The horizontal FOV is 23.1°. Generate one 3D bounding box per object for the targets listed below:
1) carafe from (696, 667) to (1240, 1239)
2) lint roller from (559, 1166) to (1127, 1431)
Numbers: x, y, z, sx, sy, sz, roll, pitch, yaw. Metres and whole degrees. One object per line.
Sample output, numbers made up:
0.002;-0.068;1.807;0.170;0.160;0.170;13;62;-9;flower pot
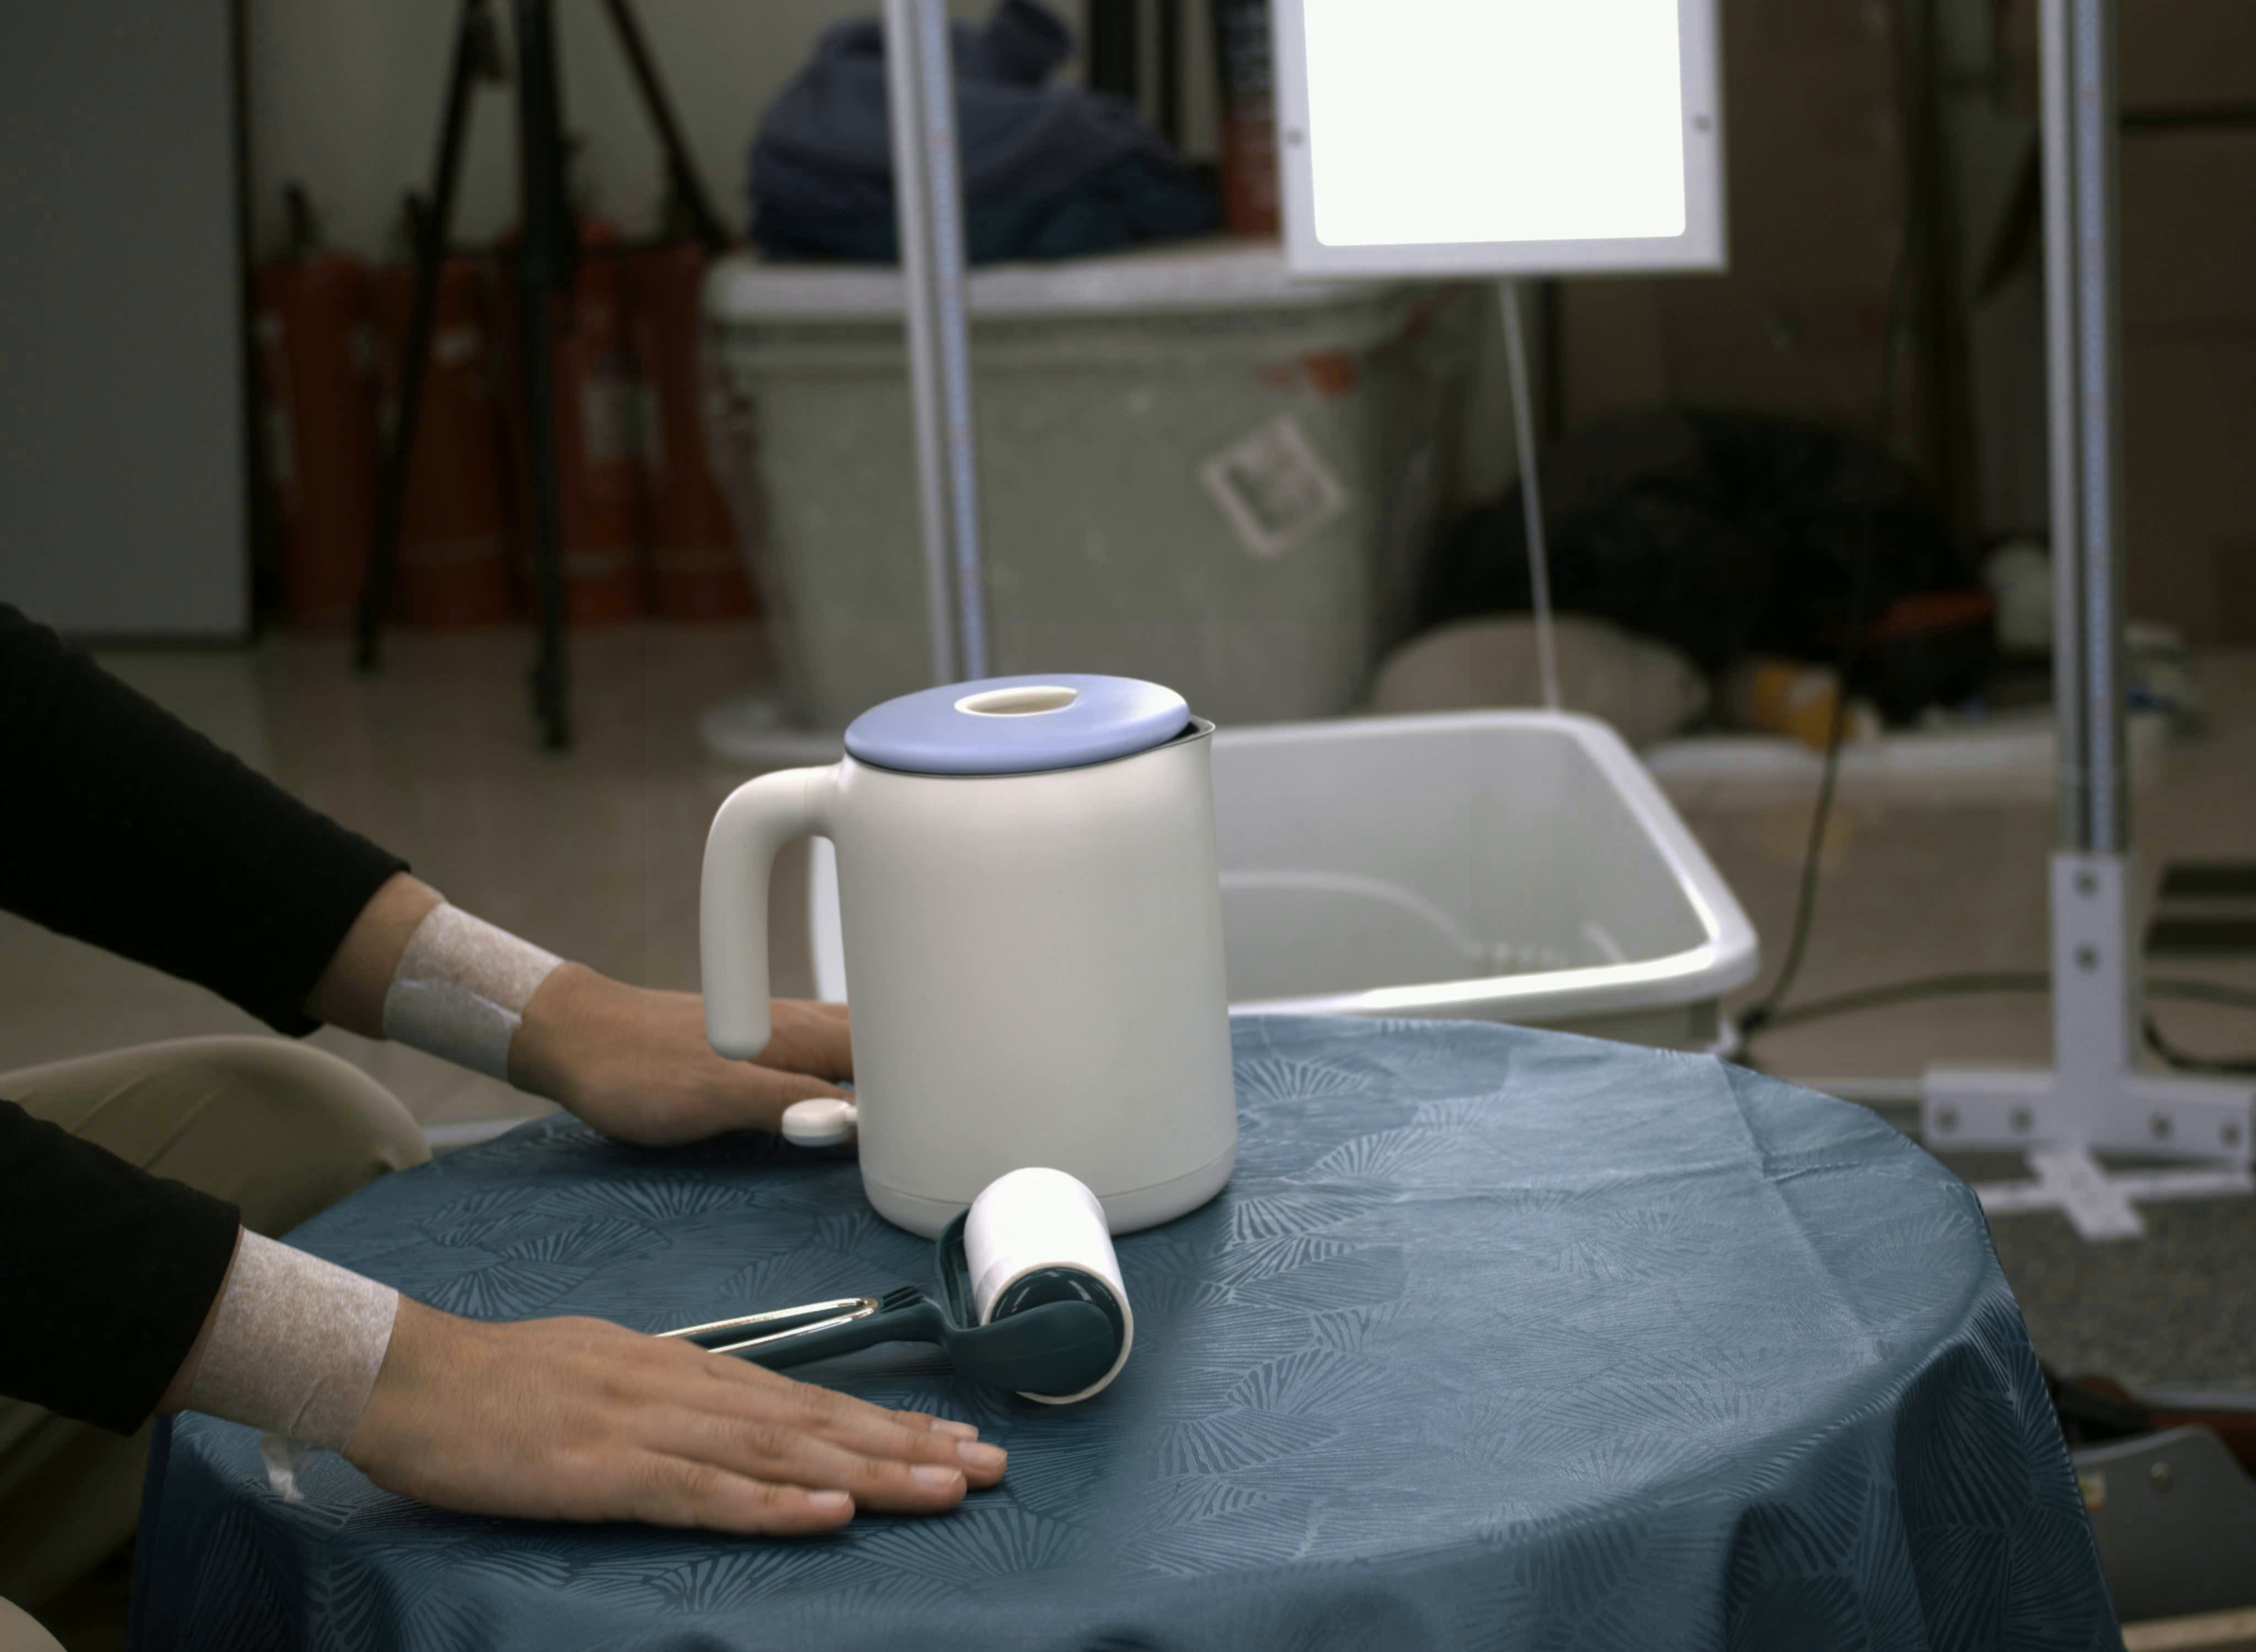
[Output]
-0.056;0.045;1.890;0.193;0.183;0.130;-4;13;13;carafe
-0.093;0.153;1.735;0.179;0.048;0.134;-9;14;-1;lint roller
